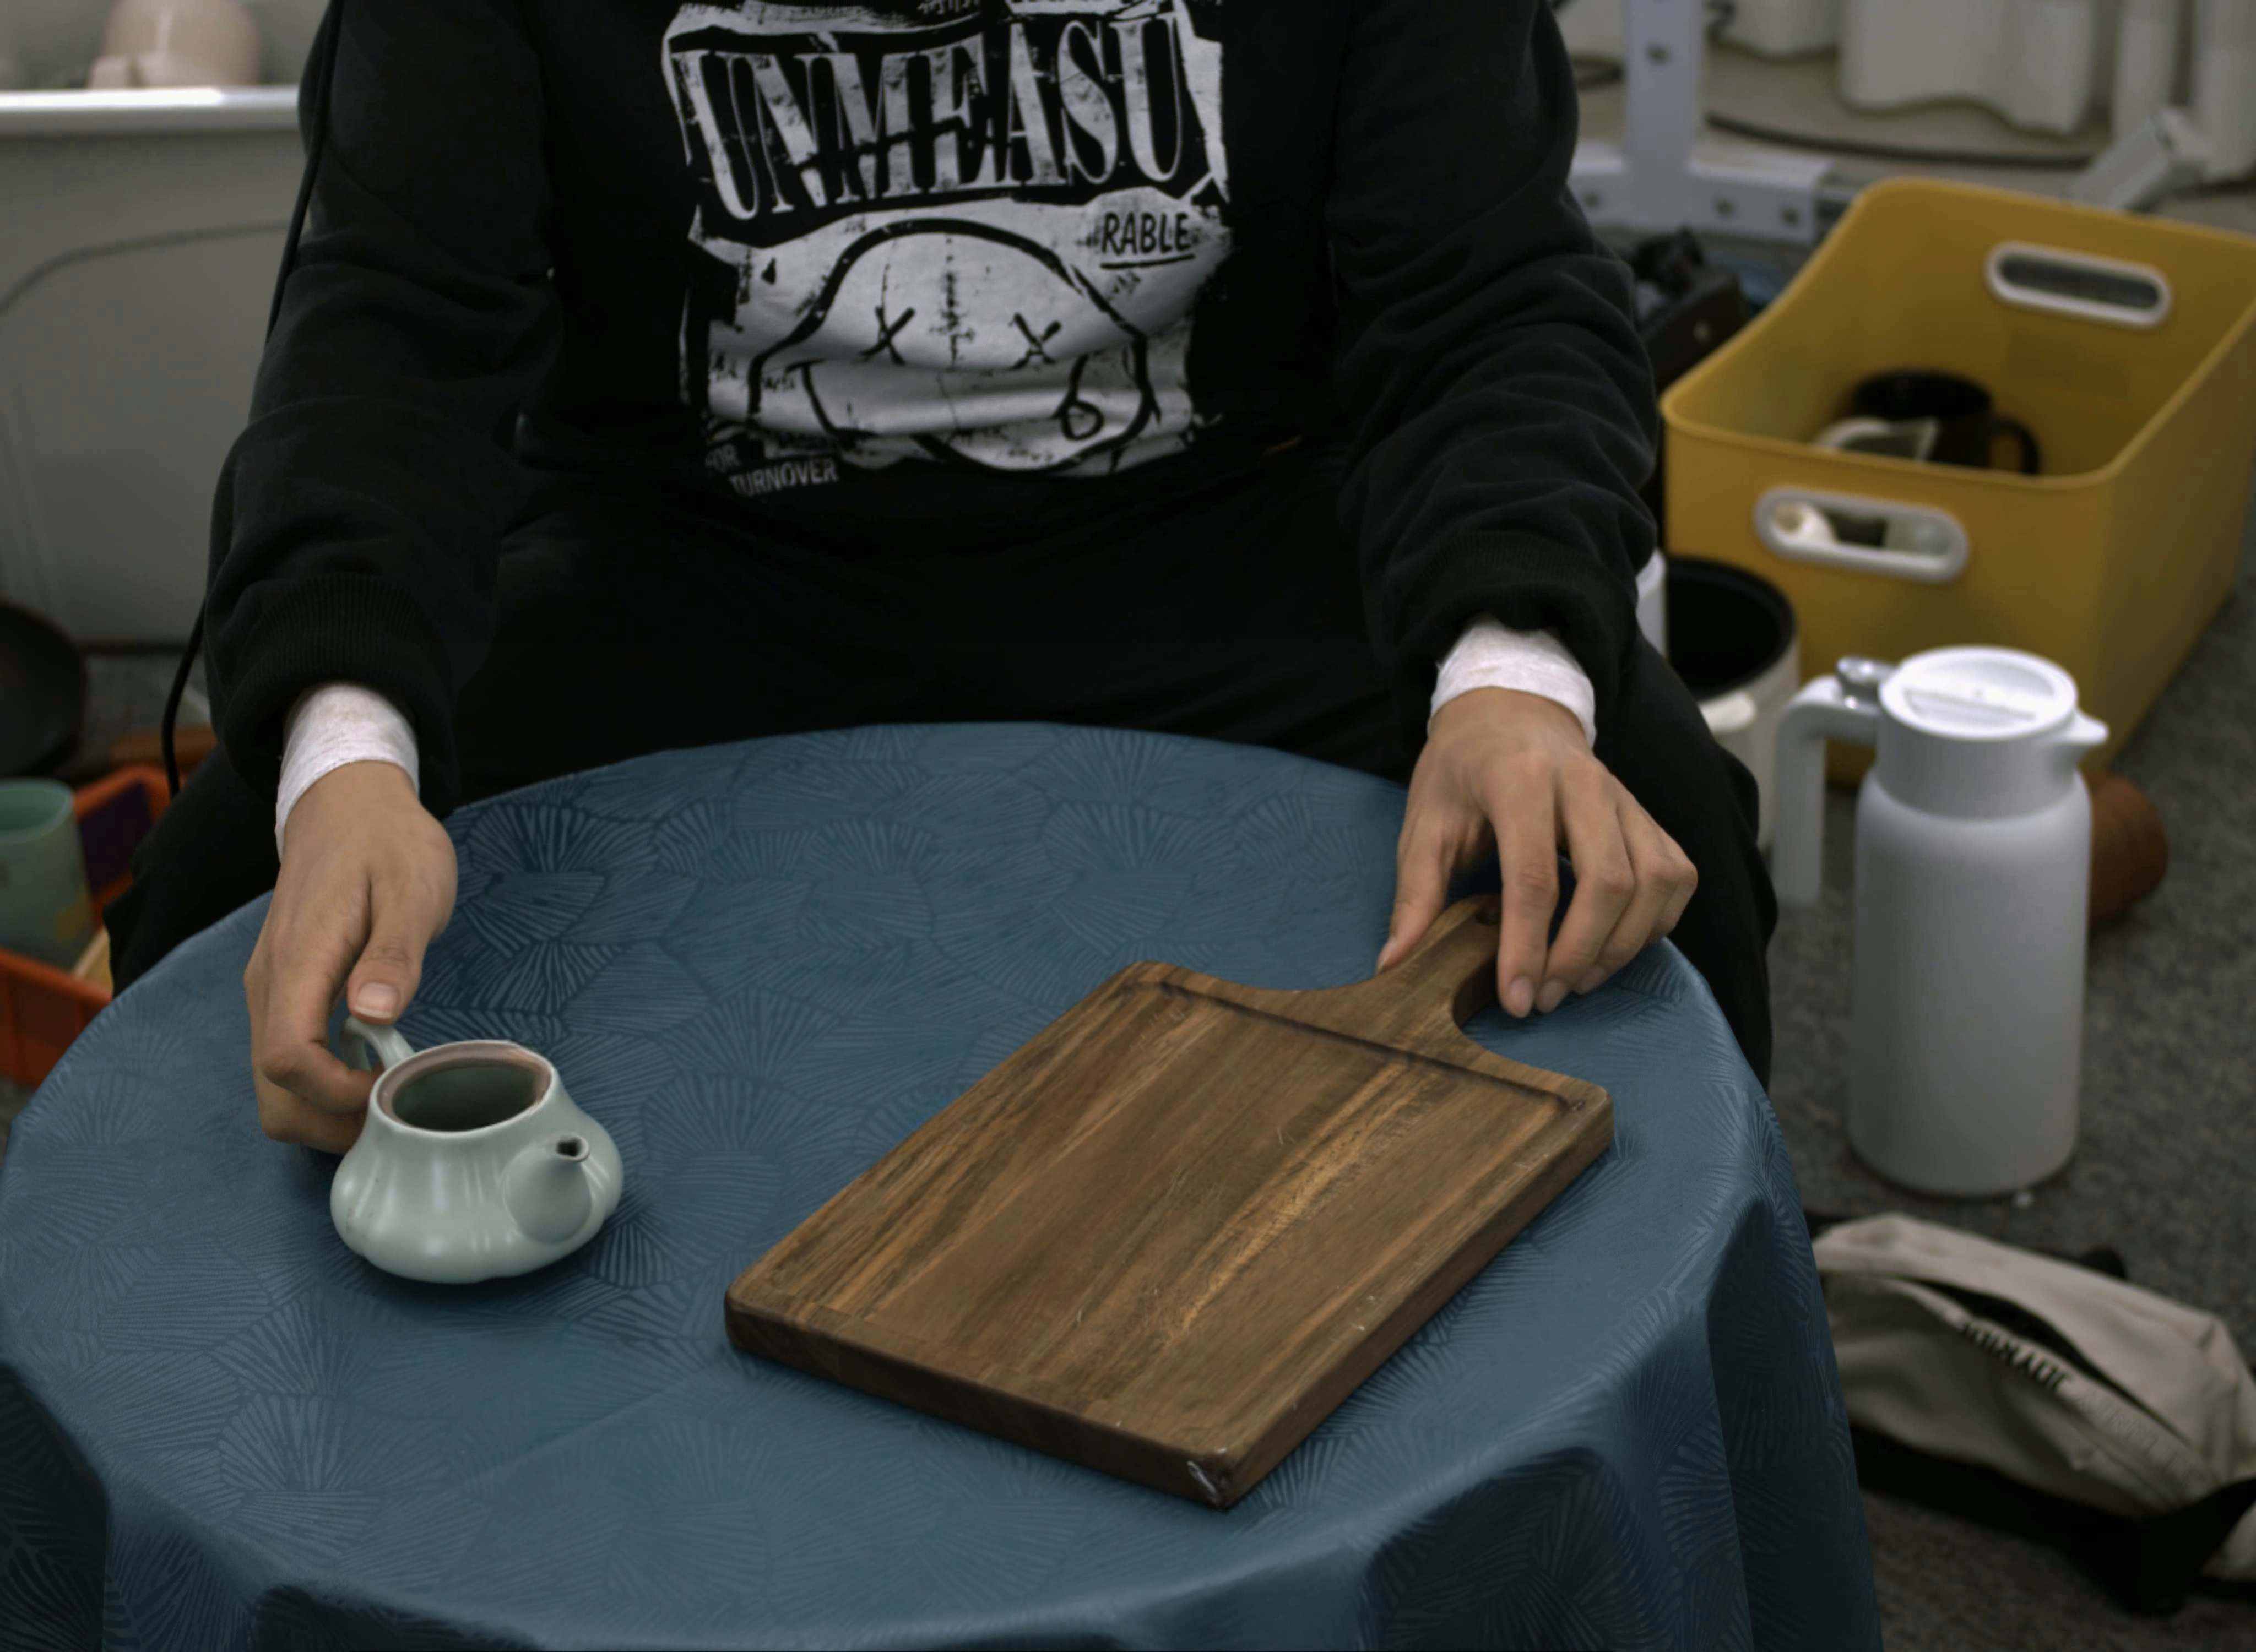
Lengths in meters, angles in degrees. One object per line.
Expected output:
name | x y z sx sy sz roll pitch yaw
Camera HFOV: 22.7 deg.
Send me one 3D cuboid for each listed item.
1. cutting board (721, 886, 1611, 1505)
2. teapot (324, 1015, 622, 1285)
cutting board | 0.042 0.105 1.863 0.200 0.023 0.358 14 32 29
teapot | -0.218 0.107 1.843 0.097 0.061 0.137 -27 36 -36
